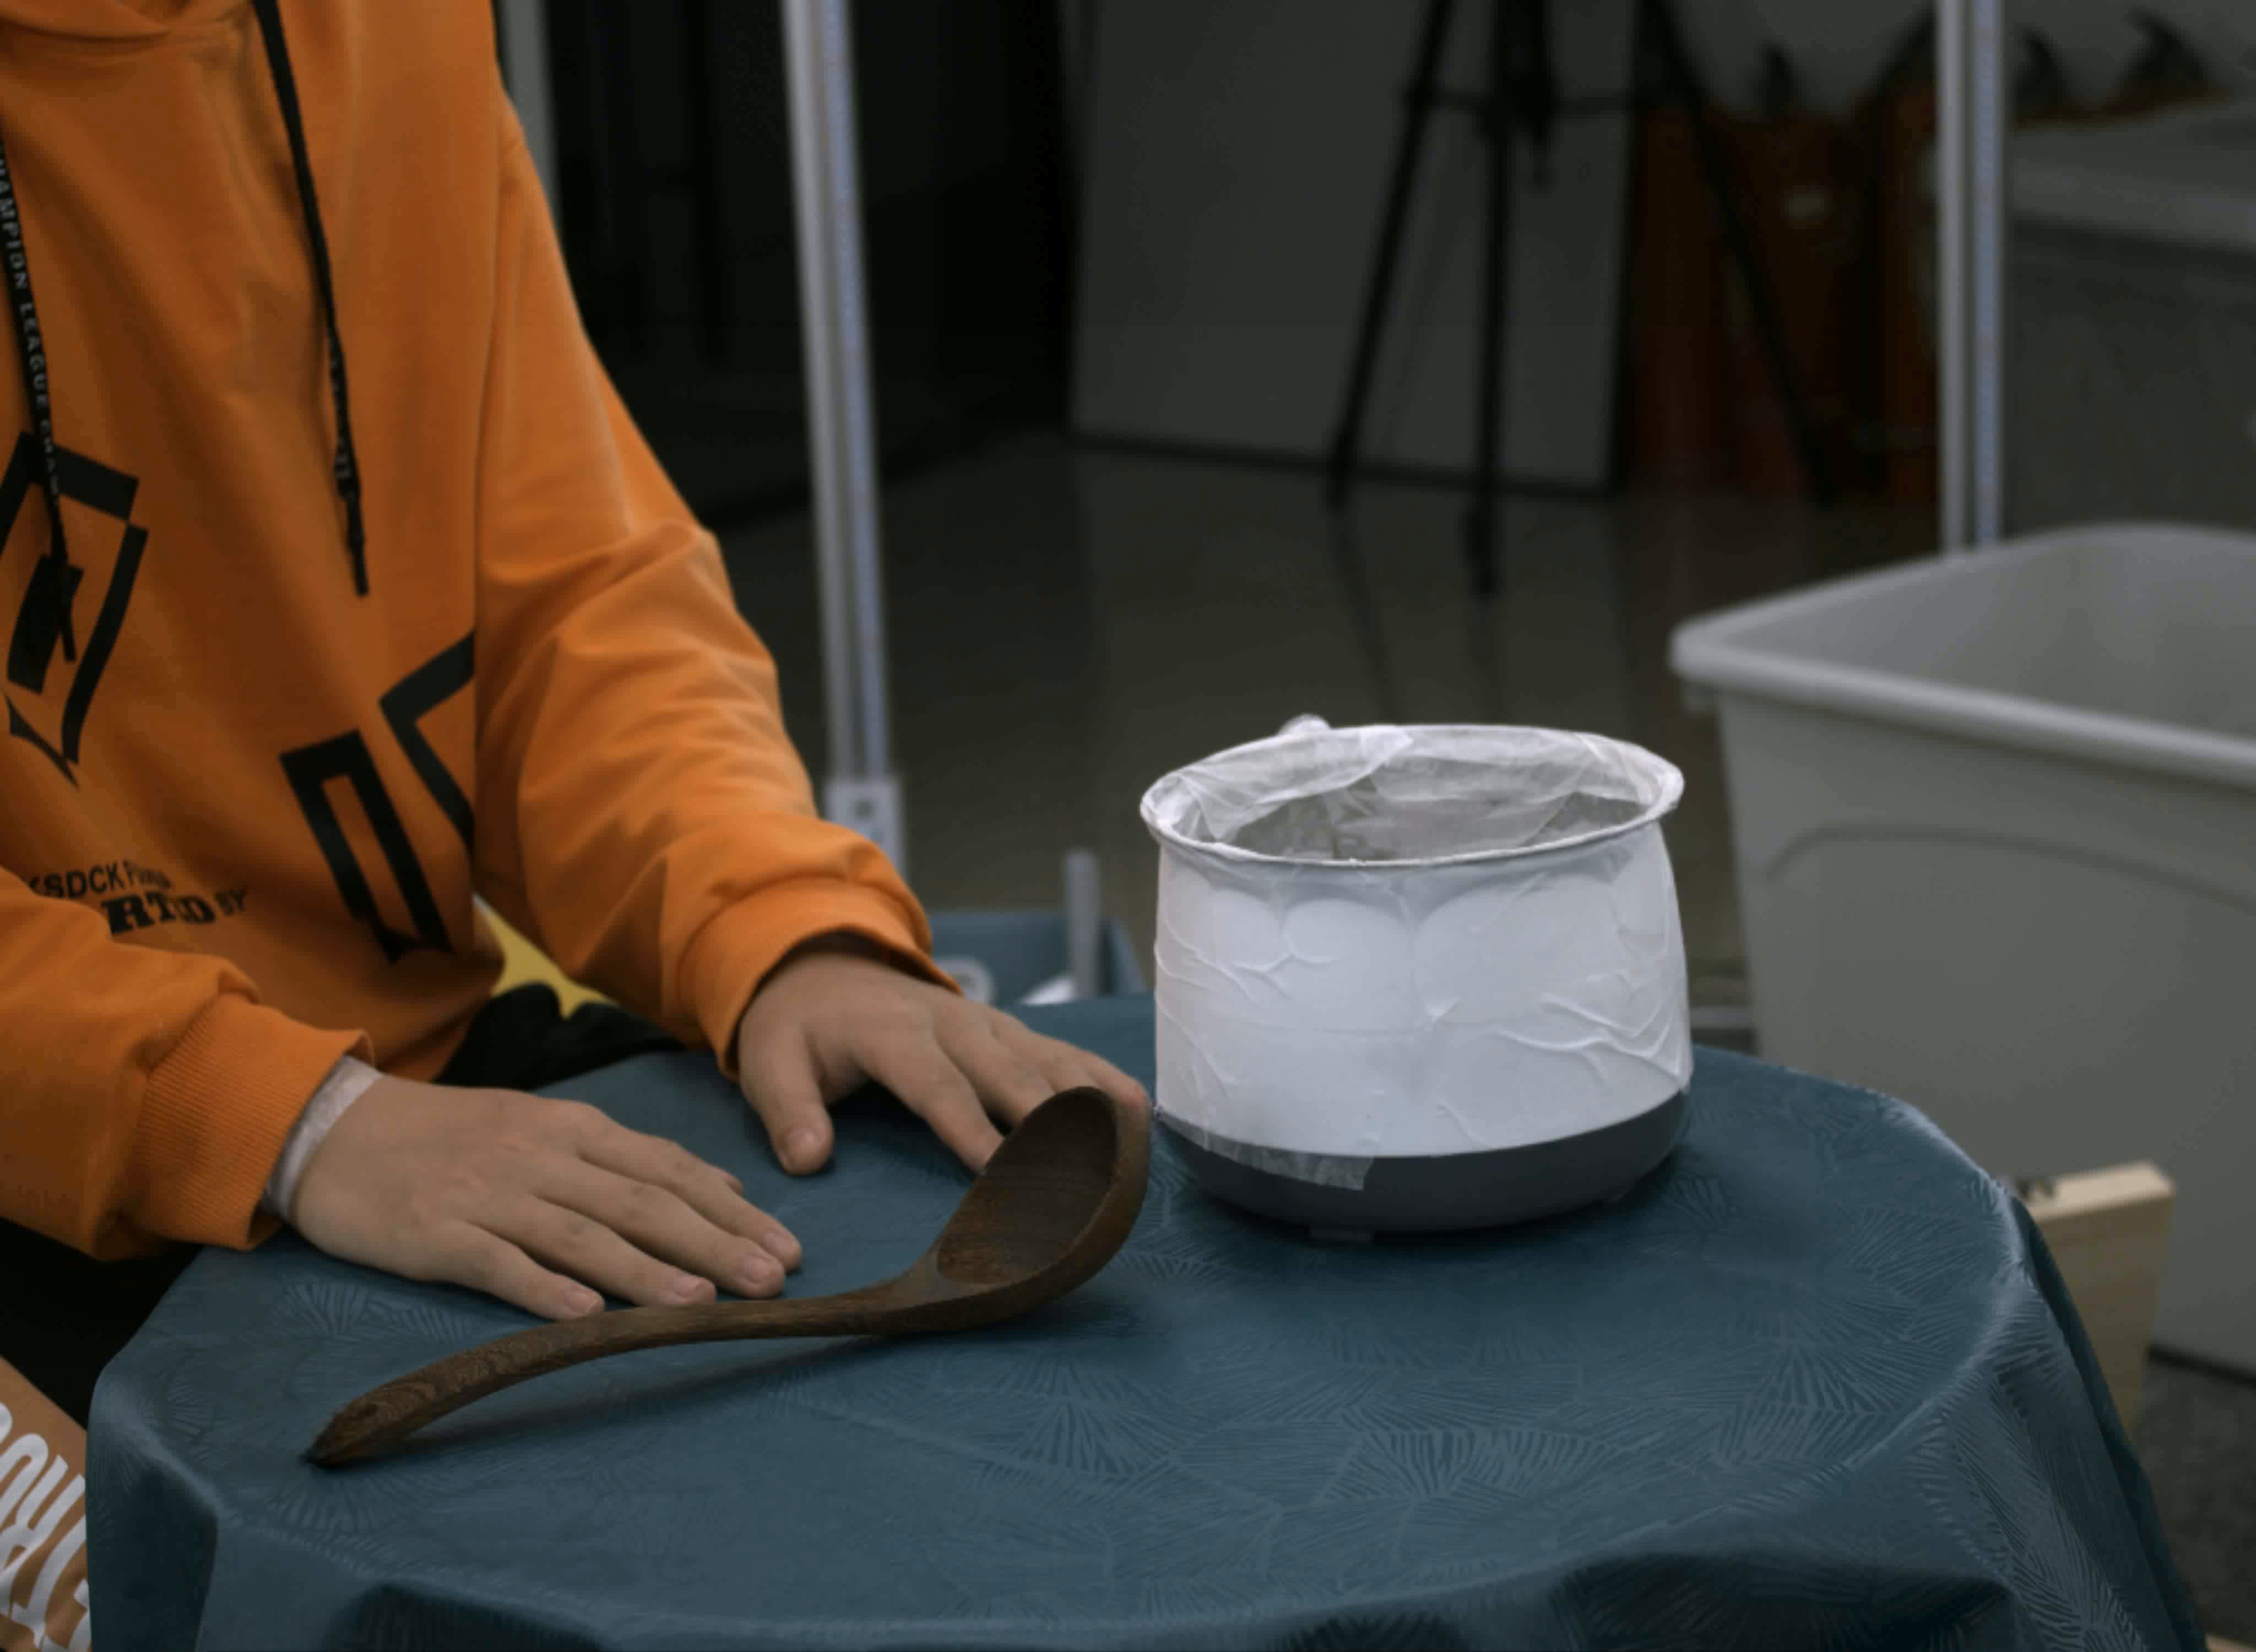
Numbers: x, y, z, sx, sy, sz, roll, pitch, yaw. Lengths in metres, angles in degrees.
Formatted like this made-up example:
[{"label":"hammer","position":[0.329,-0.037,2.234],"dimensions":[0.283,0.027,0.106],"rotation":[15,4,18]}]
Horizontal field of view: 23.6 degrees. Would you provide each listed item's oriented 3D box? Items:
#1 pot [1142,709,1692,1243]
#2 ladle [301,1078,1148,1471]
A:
[{"label":"pot","position":[0.085,0.043,1.774],"dimensions":[0.175,0.138,0.236],"rotation":[-8,14,-18]},{"label":"ladle","position":[-0.119,0.132,1.617],"dimensions":[0.268,0.072,0.077],"rotation":[-9,11,-24]}]
